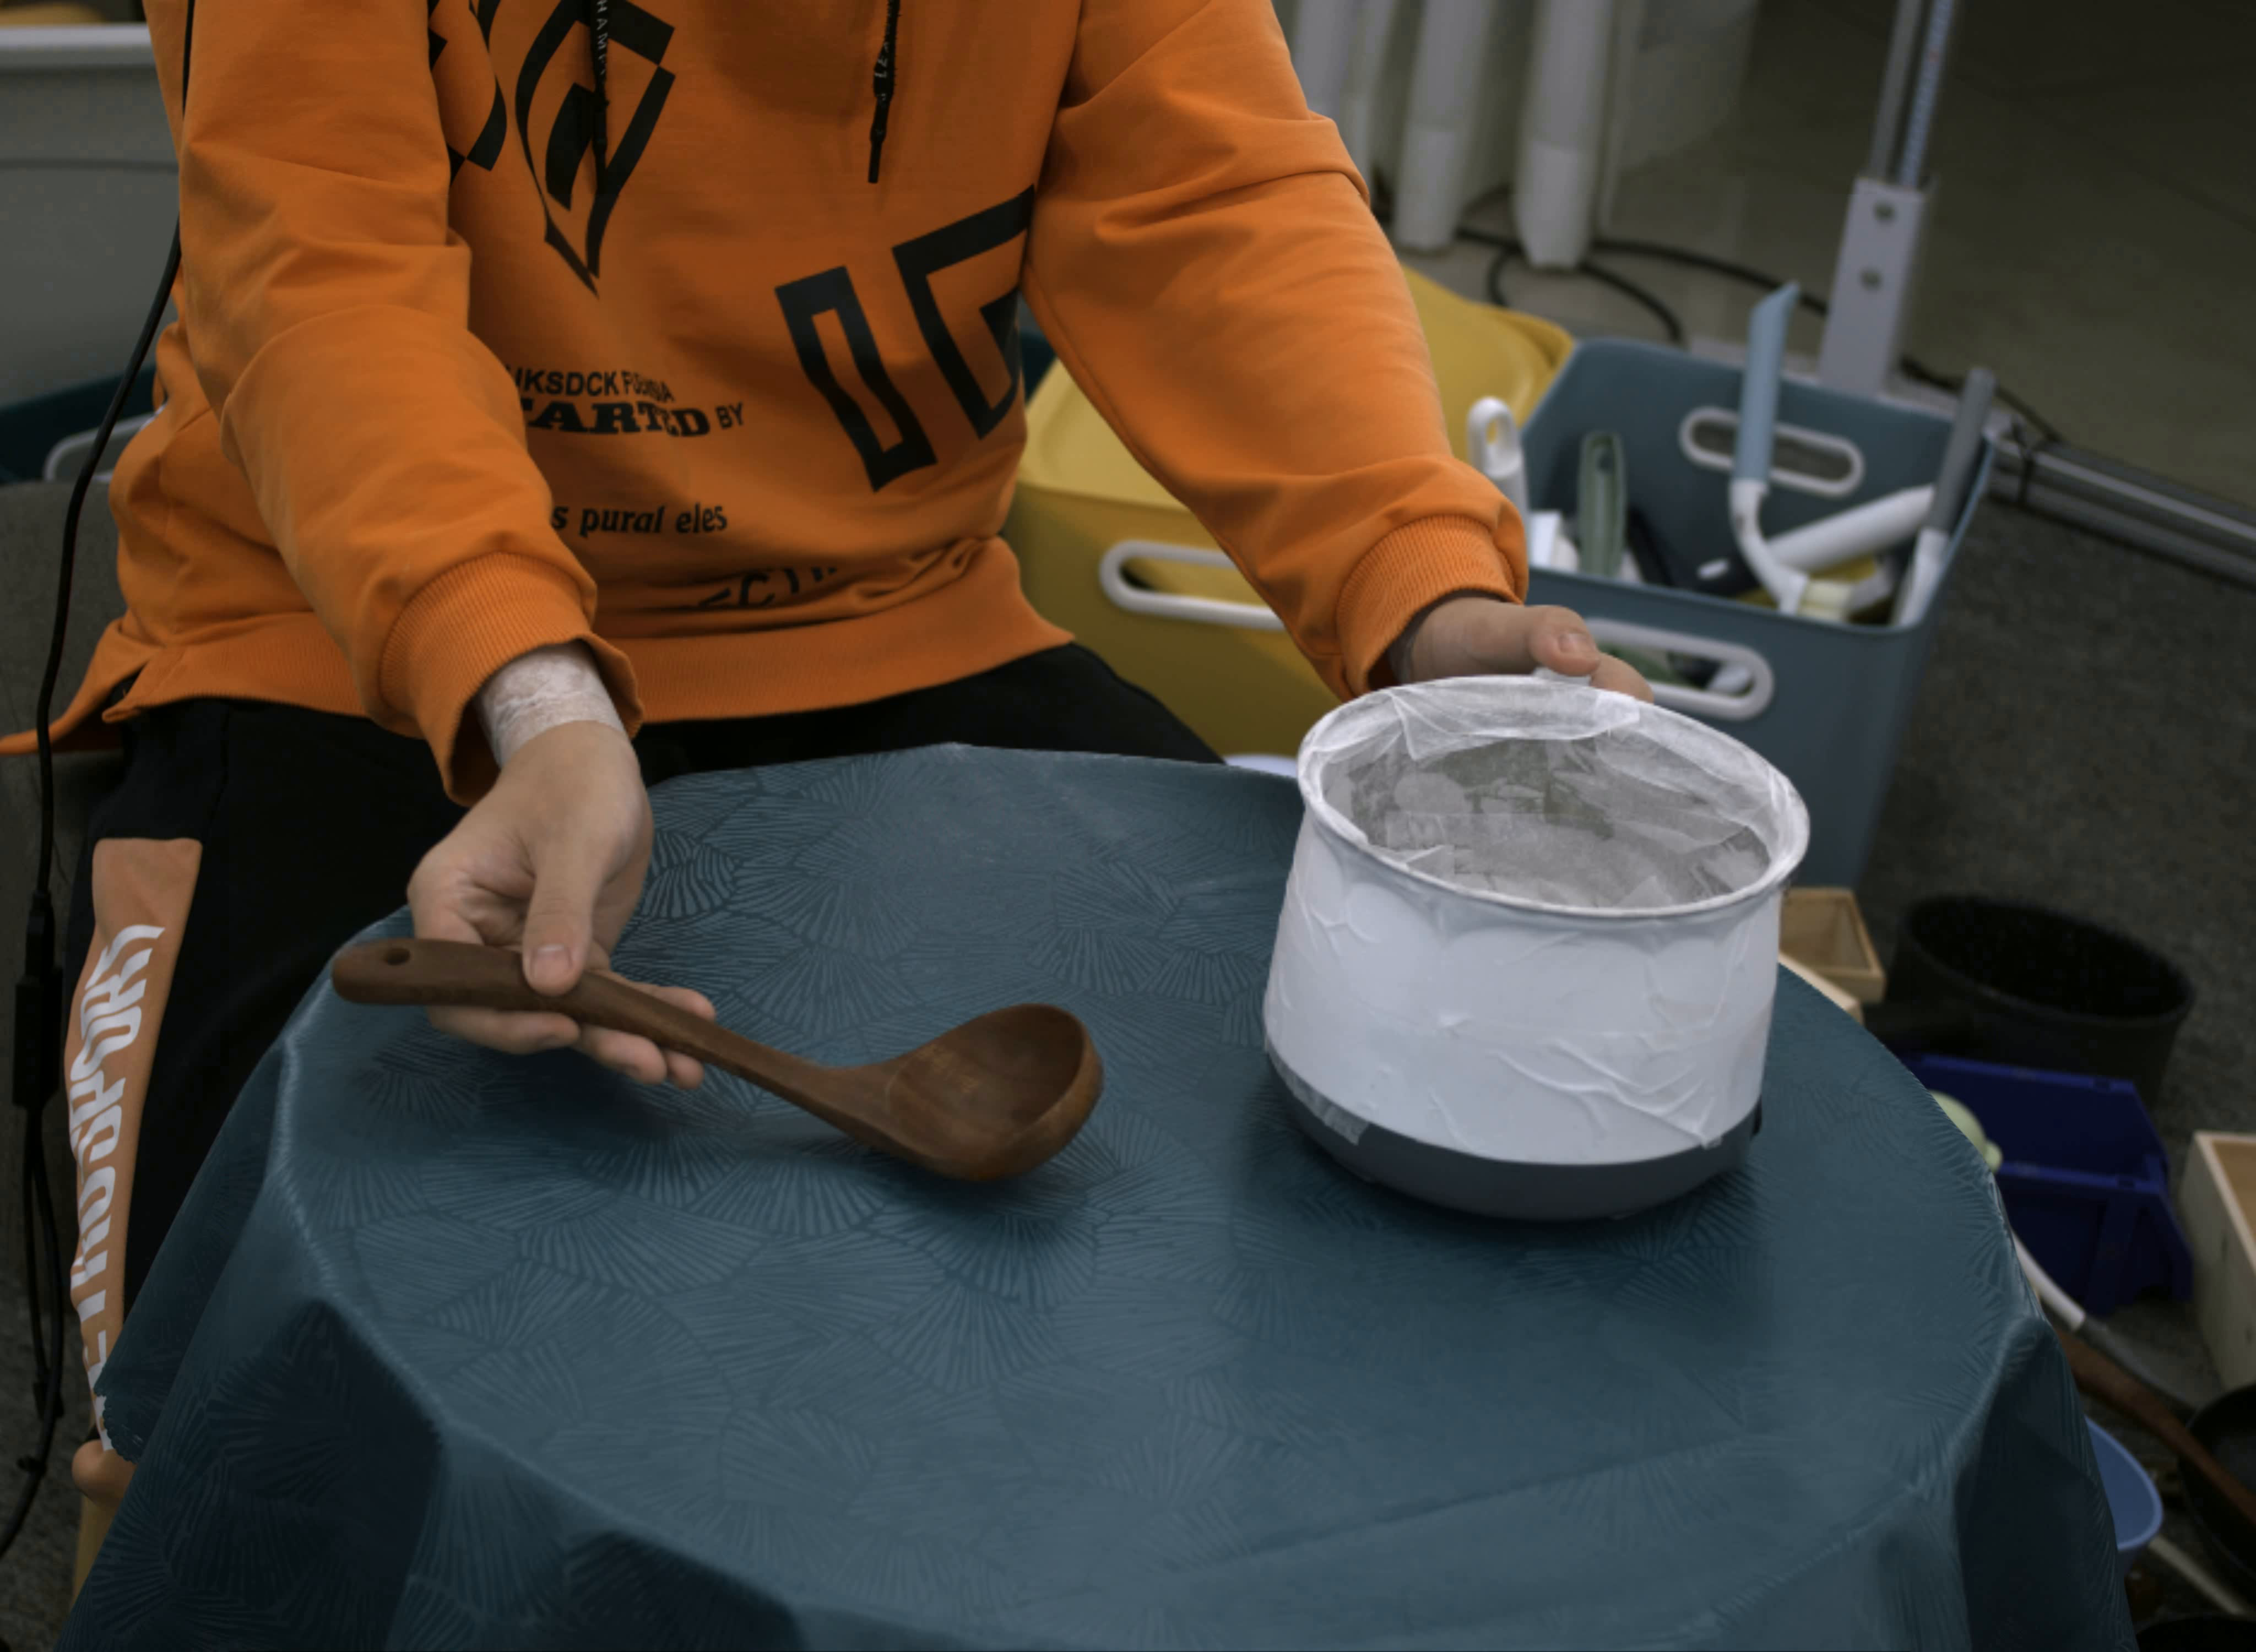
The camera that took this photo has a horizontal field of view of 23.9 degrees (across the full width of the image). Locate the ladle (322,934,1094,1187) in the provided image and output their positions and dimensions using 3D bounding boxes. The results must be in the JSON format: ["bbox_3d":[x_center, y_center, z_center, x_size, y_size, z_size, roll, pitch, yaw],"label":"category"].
[{"bbox_3d":[-0.139,0.064,1.784,0.259,0.065,0.077,18,31,-7],"label":"ladle"}]

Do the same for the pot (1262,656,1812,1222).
[{"bbox_3d":[0.140,0.032,1.862,0.178,0.136,0.235,8,26,1],"label":"pot"}]
